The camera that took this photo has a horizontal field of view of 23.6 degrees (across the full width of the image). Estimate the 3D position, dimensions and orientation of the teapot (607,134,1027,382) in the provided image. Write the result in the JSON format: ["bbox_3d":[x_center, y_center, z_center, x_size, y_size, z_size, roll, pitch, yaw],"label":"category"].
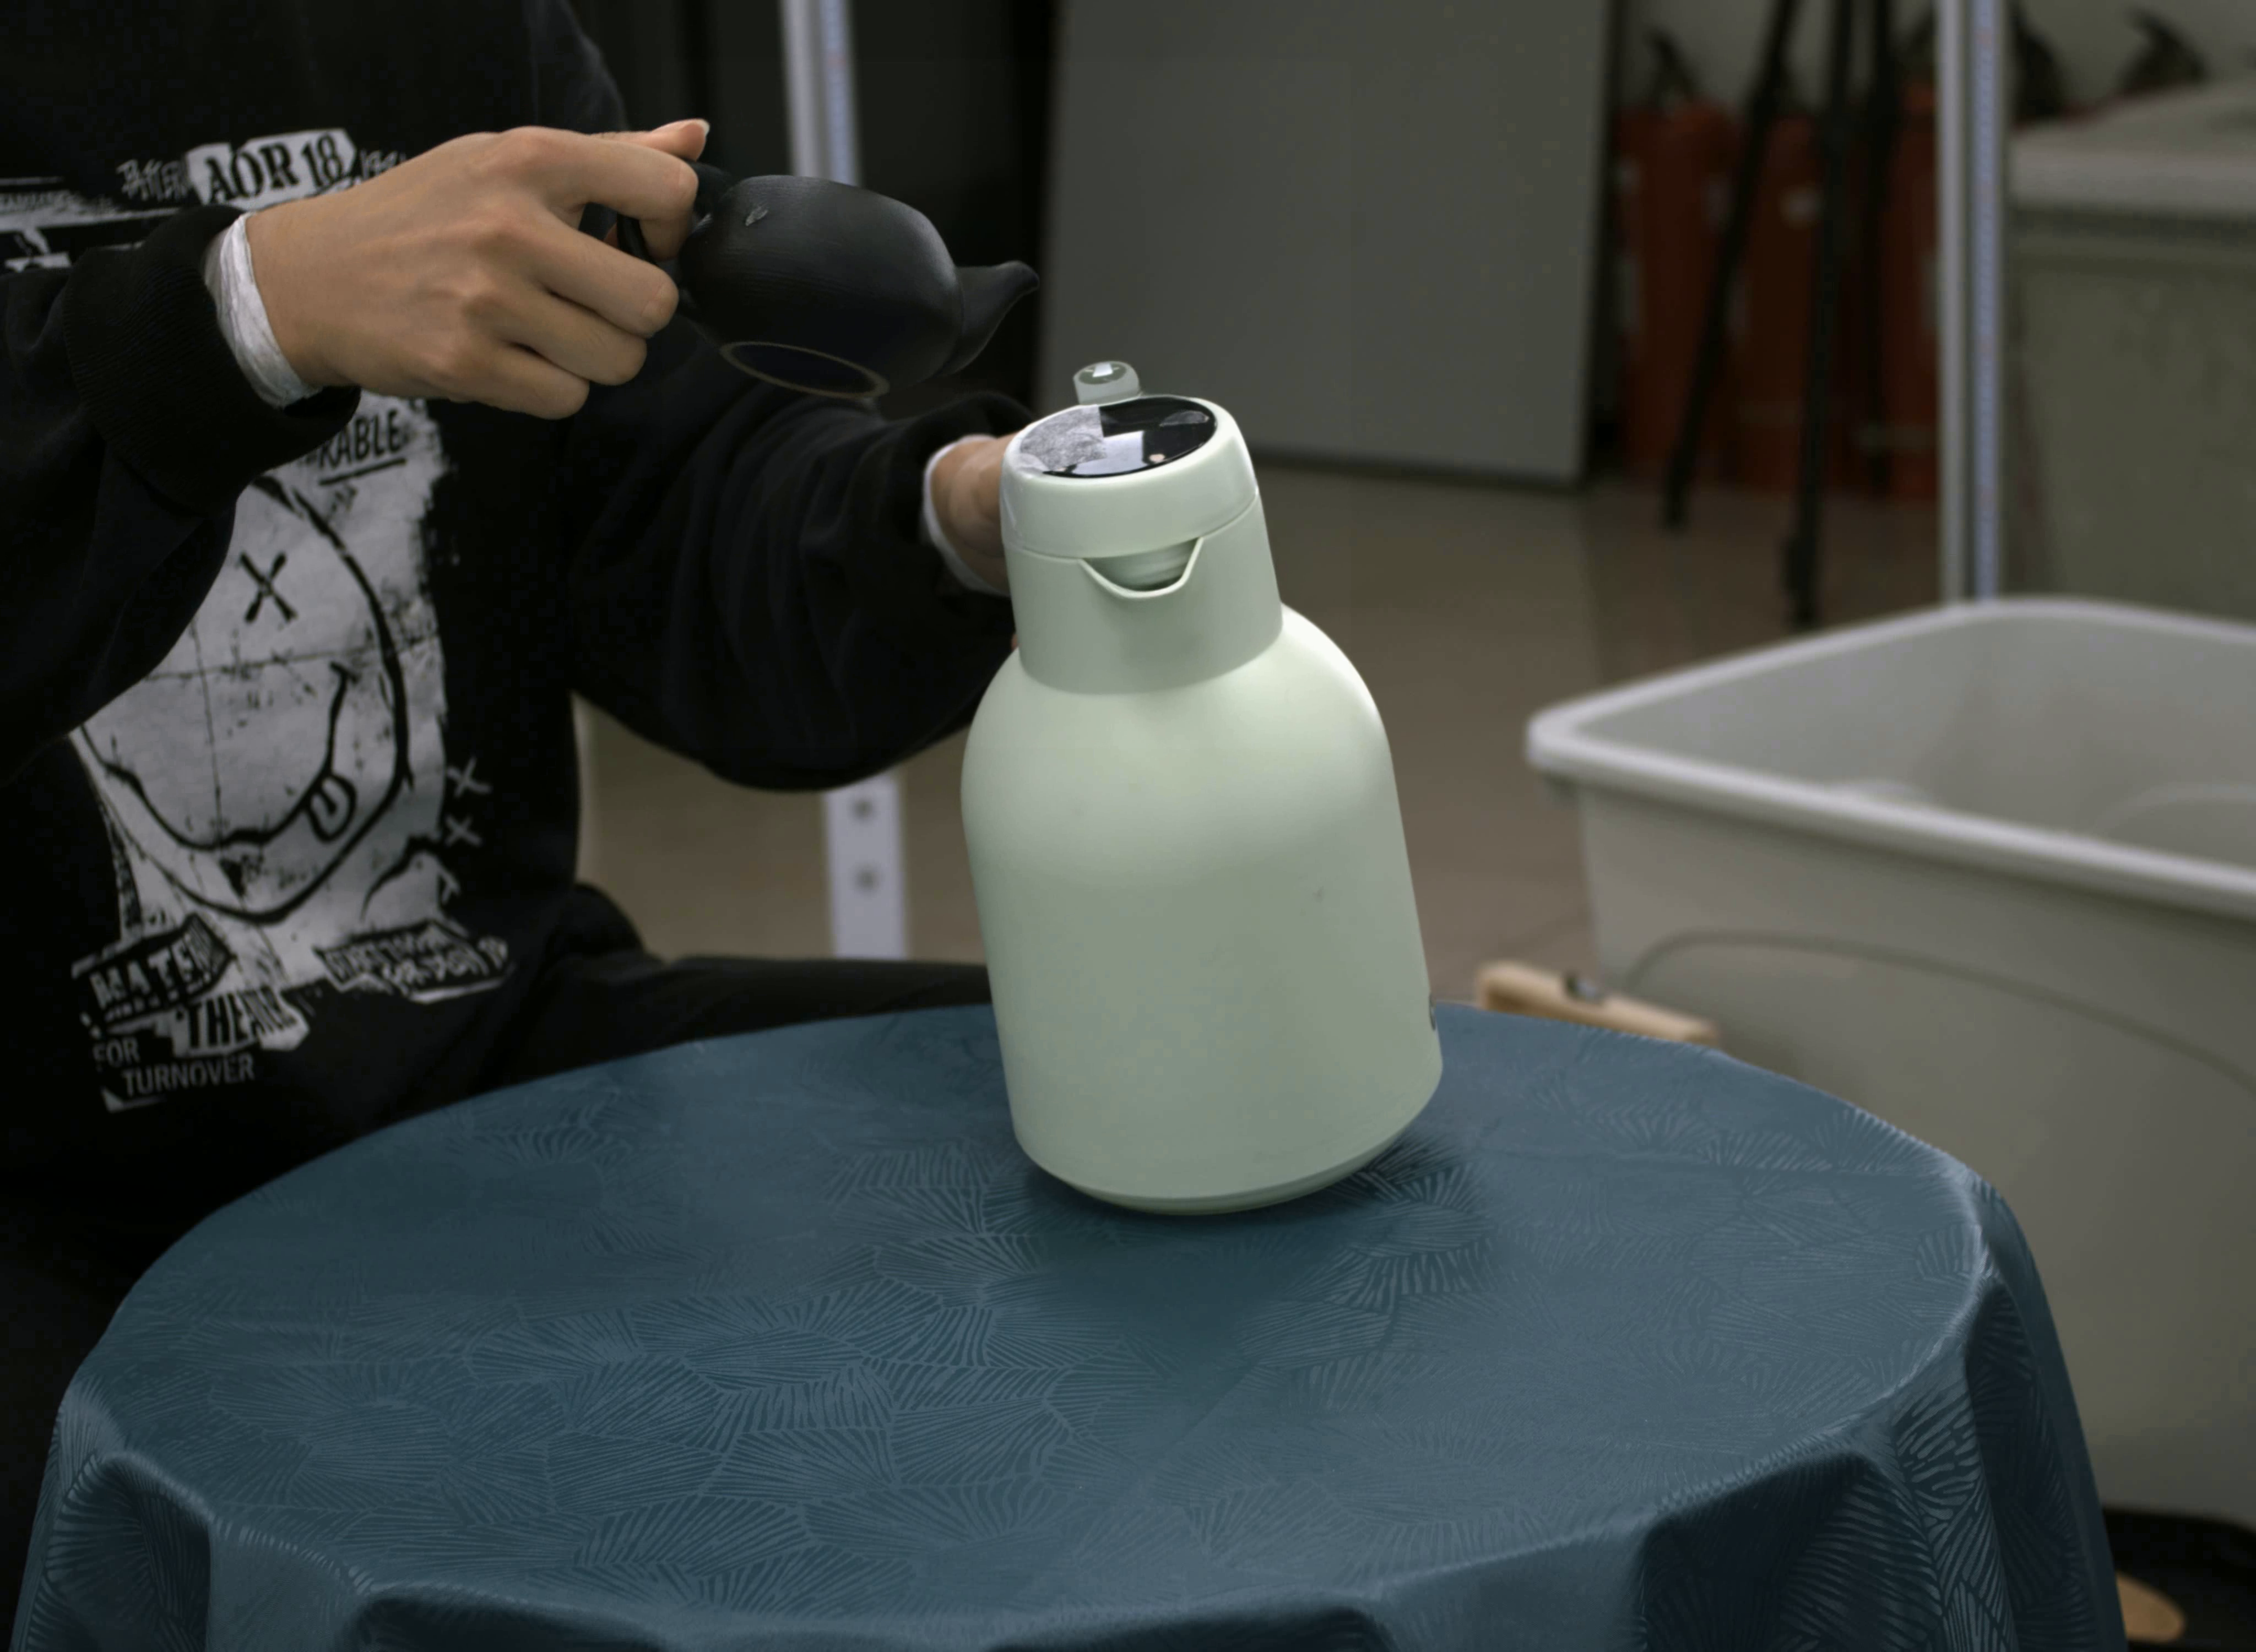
[{"bbox_3d":[-0.097,-0.169,1.645,0.131,0.053,0.091,17,-12,-14],"label":"teapot"}]

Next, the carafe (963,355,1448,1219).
[{"bbox_3d":[0.014,-0.019,1.757,0.142,0.258,0.187,-12,21,0],"label":"carafe"}]
